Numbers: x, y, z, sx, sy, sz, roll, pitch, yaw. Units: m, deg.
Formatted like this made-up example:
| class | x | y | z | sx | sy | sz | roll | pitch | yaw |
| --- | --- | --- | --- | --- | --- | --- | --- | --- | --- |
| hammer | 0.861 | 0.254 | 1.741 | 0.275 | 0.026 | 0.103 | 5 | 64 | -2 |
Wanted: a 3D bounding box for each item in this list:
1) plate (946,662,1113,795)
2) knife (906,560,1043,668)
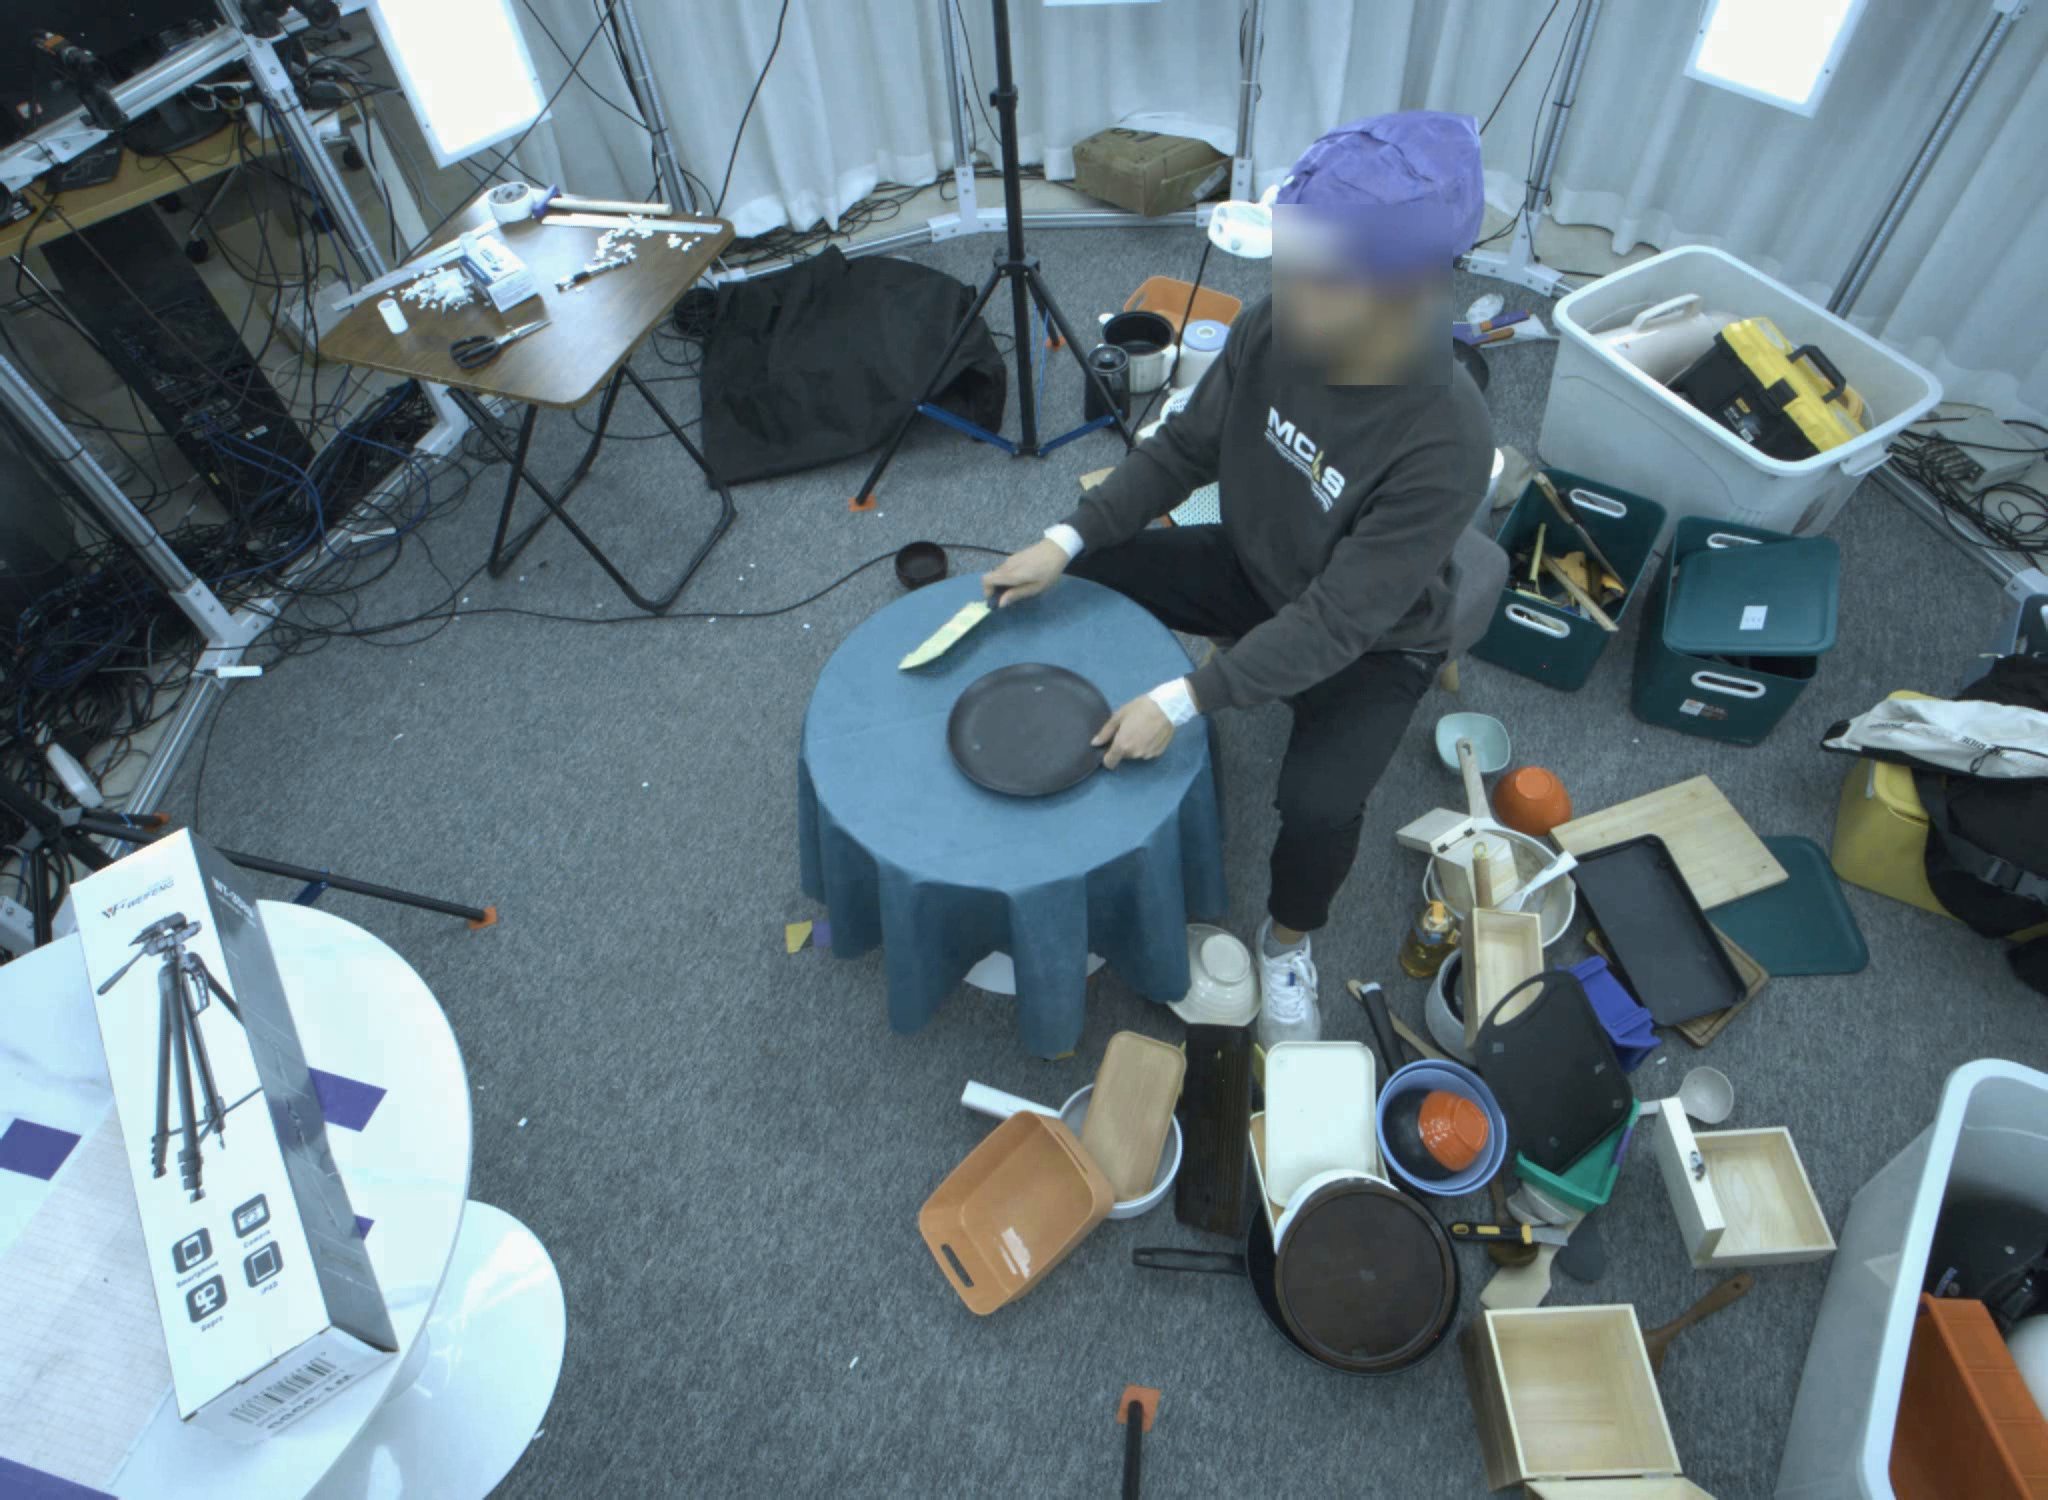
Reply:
| class | x | y | z | sx | sy | sz | roll | pitch | yaw |
| --- | --- | --- | --- | --- | --- | --- | --- | --- | --- |
| plate | 0.007 | -0.030 | 1.802 | 0.244 | 0.023 | 0.242 | 0 | 54 | 1 |
| knife | -0.079 | -0.214 | 1.926 | 0.291 | 0.028 | 0.079 | -41 | 37 | -23 |
